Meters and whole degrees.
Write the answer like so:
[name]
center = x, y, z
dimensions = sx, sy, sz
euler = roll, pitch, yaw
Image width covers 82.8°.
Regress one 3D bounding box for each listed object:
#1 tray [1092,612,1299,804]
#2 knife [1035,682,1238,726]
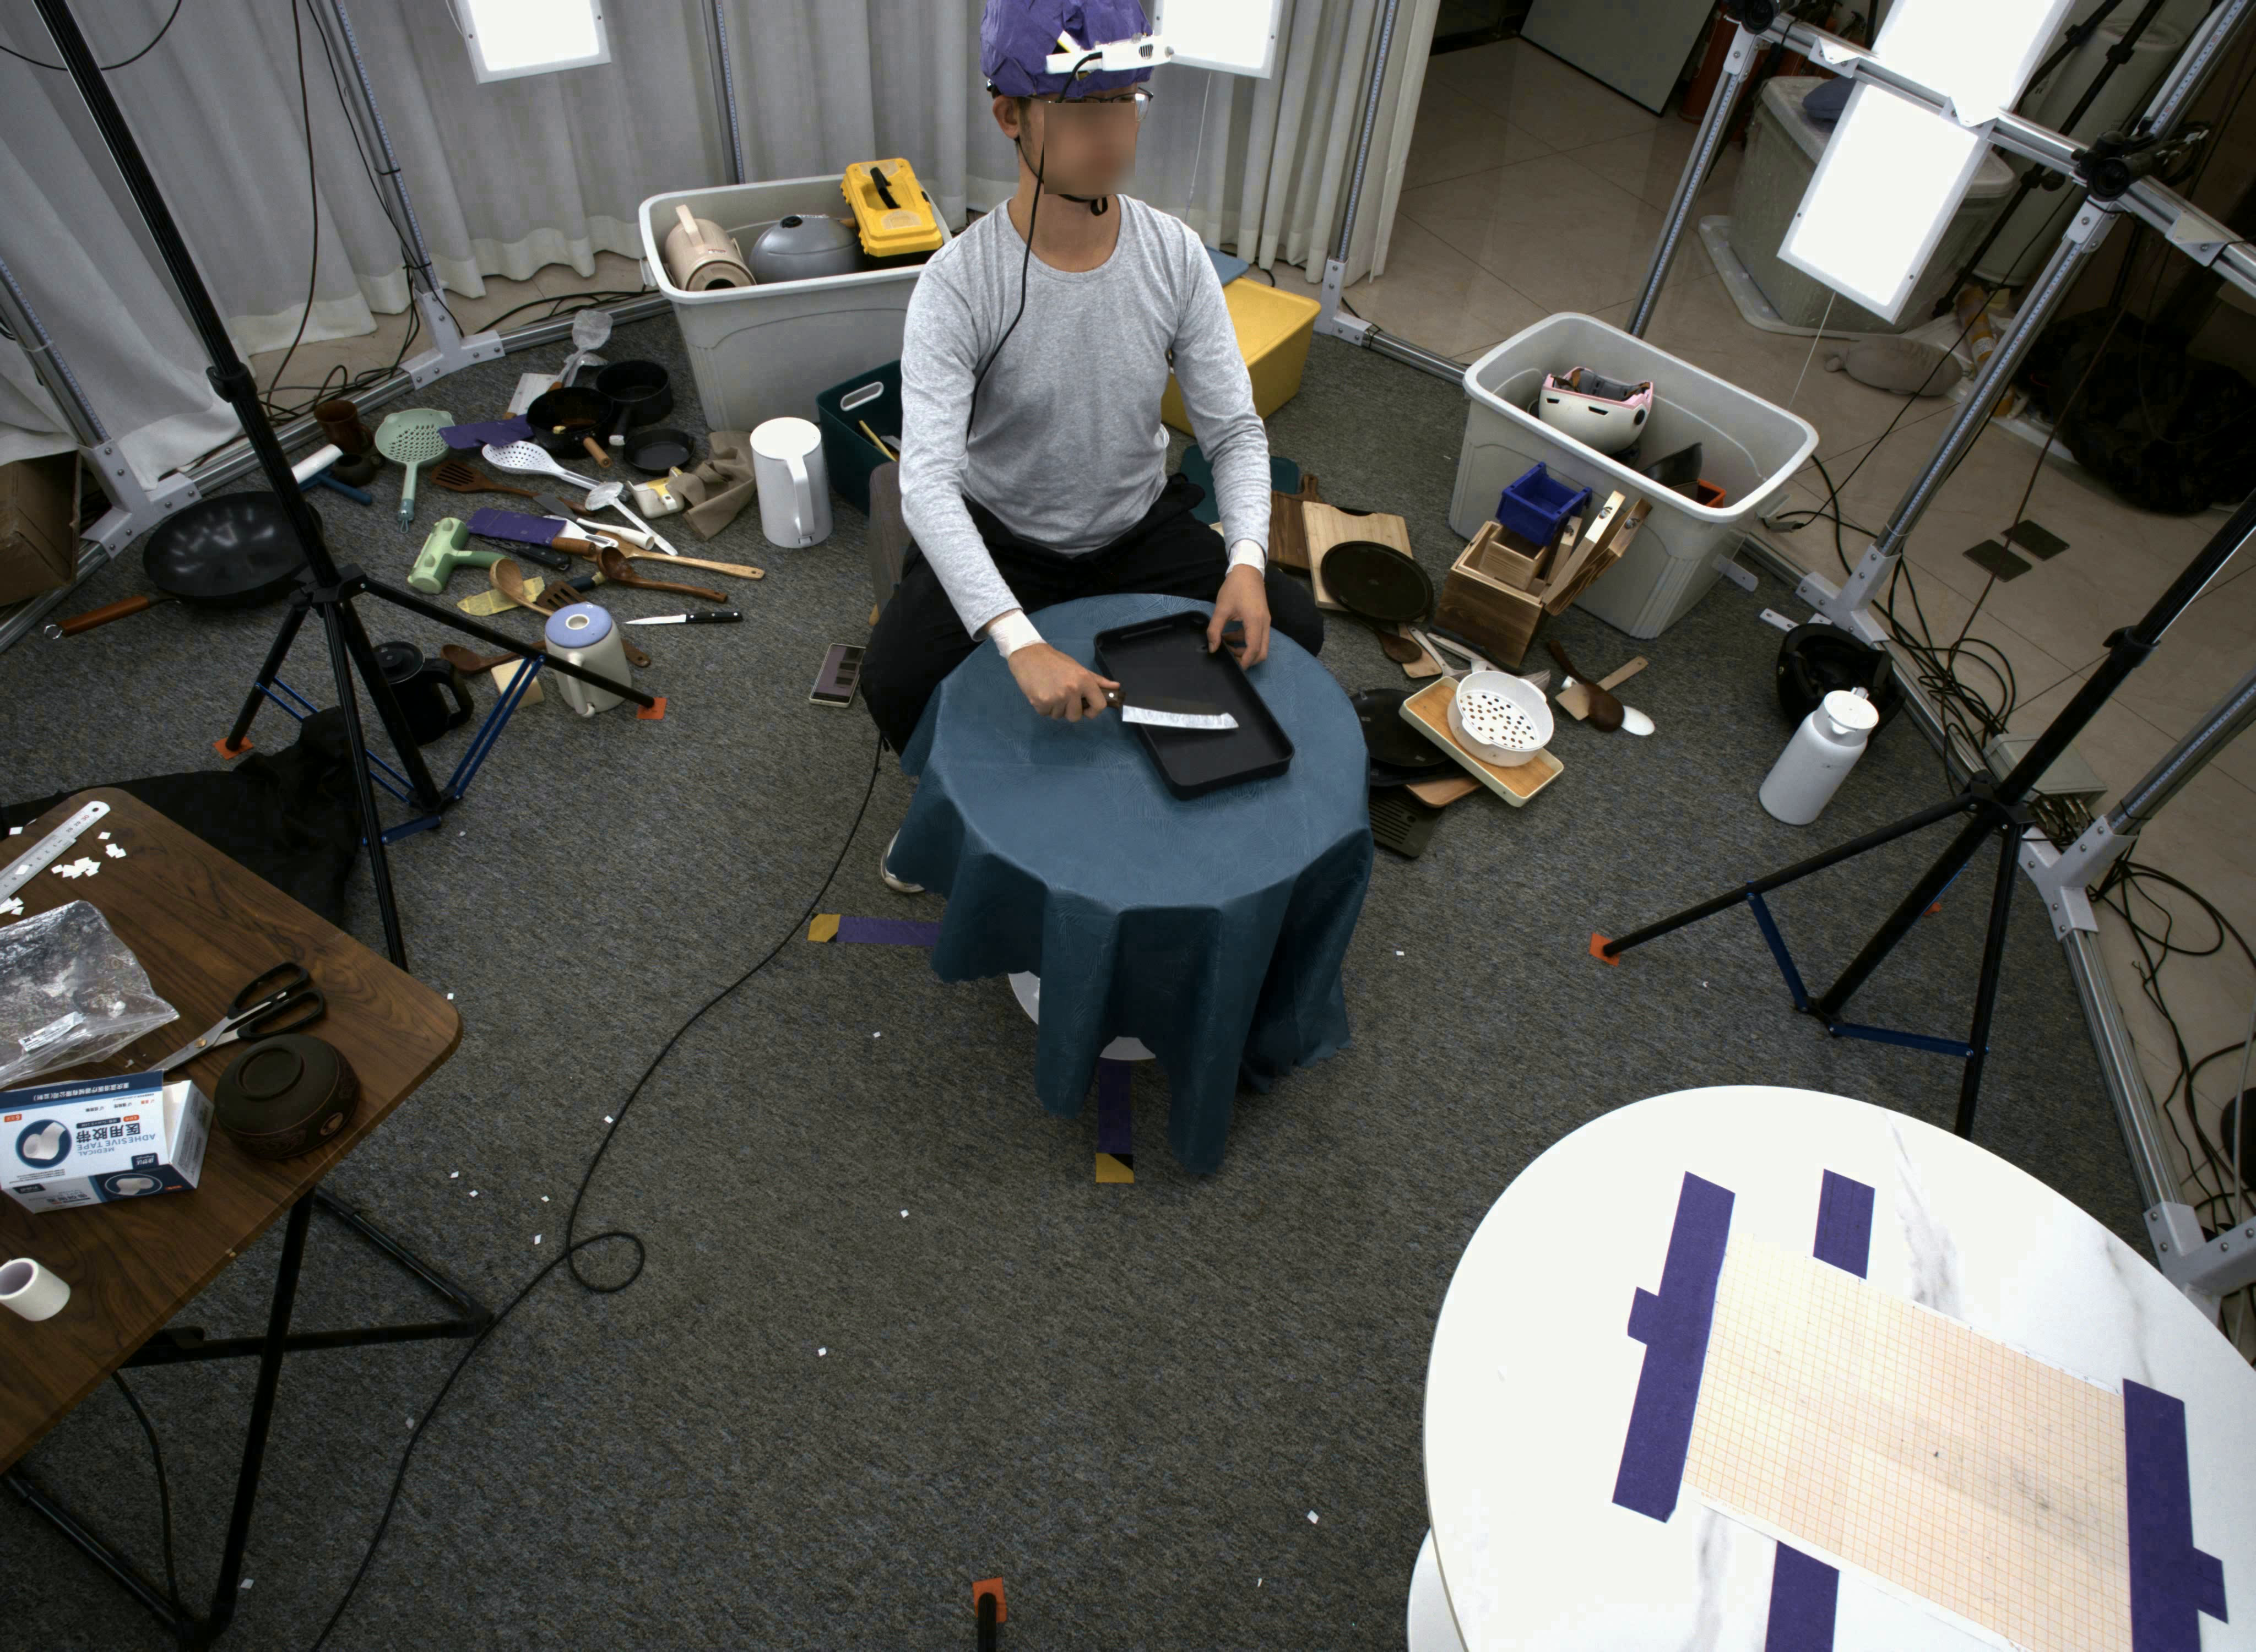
[tray]
center = 0.089, -0.172, 1.799
dimensions = 0.184, 0.036, 0.325
euler = -17, 52, -18
[knife]
center = 0.014, -0.166, 1.757
dimensions = 0.288, 0.020, 0.051
euler = 7, 68, -12
